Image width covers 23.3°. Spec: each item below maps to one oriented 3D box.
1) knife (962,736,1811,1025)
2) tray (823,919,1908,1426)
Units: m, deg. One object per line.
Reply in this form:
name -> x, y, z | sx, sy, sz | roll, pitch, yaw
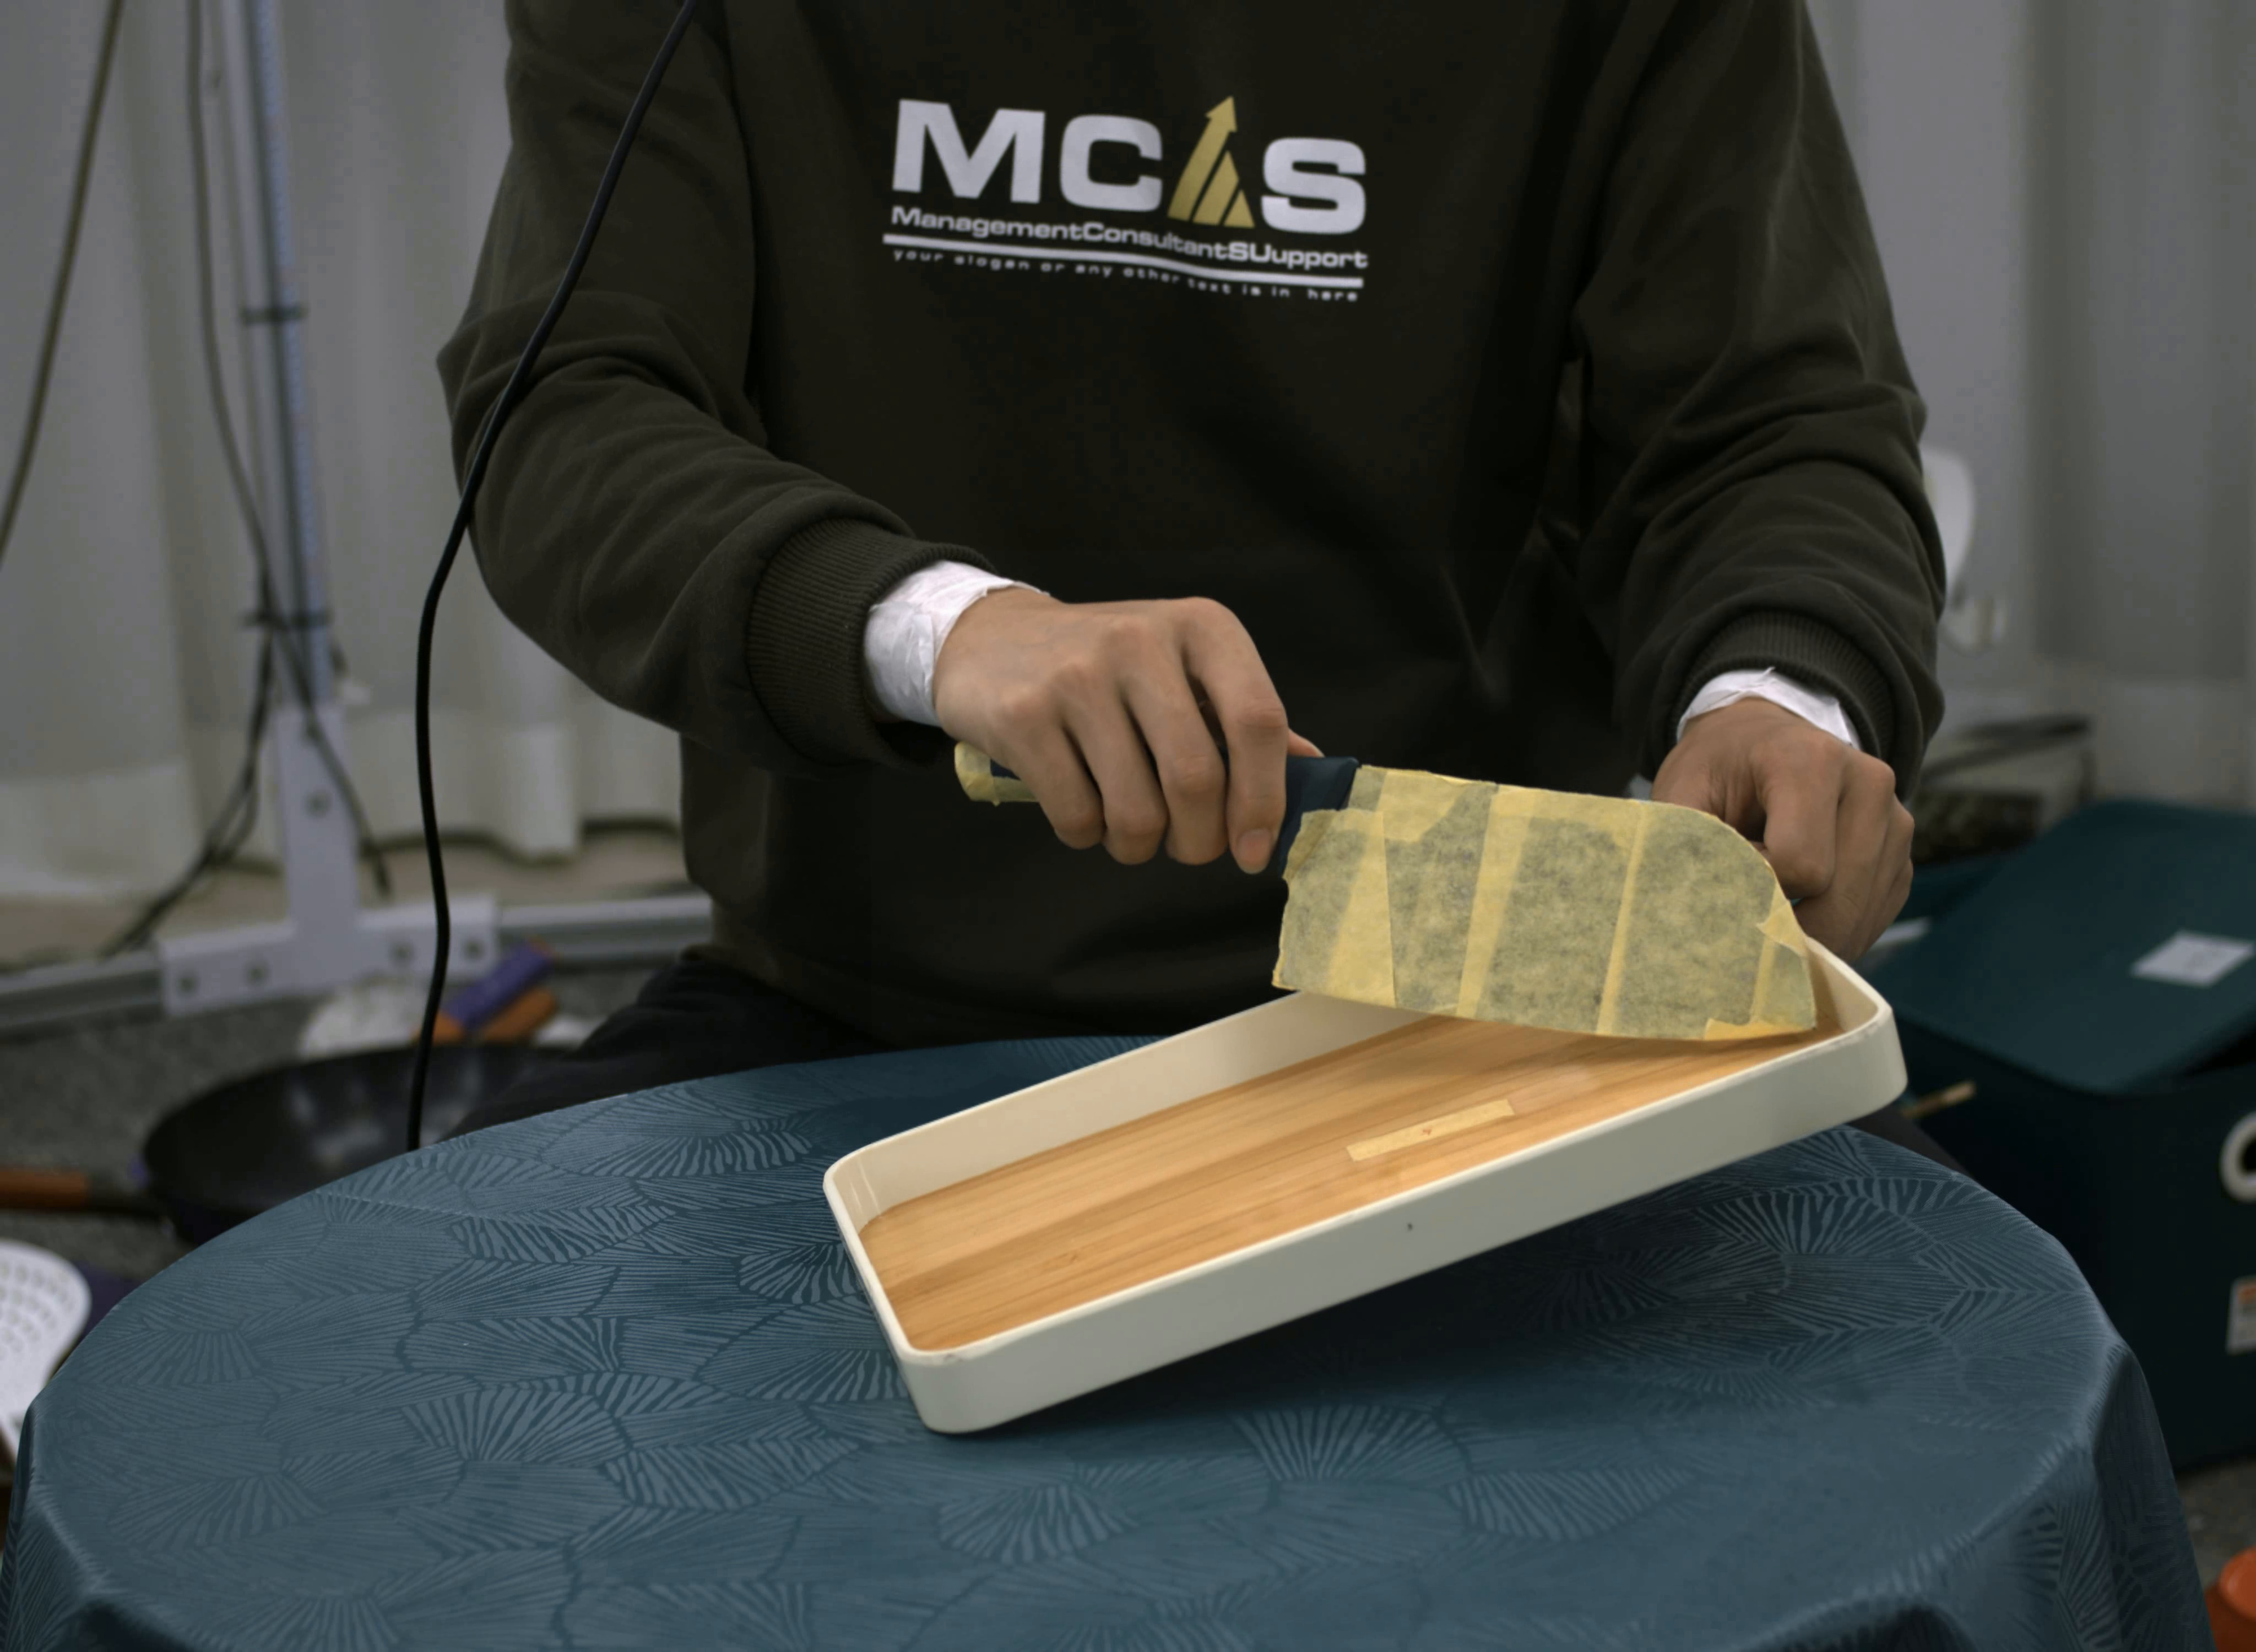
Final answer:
knife -> 0.074, 0.015, 1.664 | 0.290, 0.081, 0.027 | 10, -13, 28
tray -> 0.065, 0.090, 1.612 | 0.299, 0.027, 0.193 | -19, 16, -6
